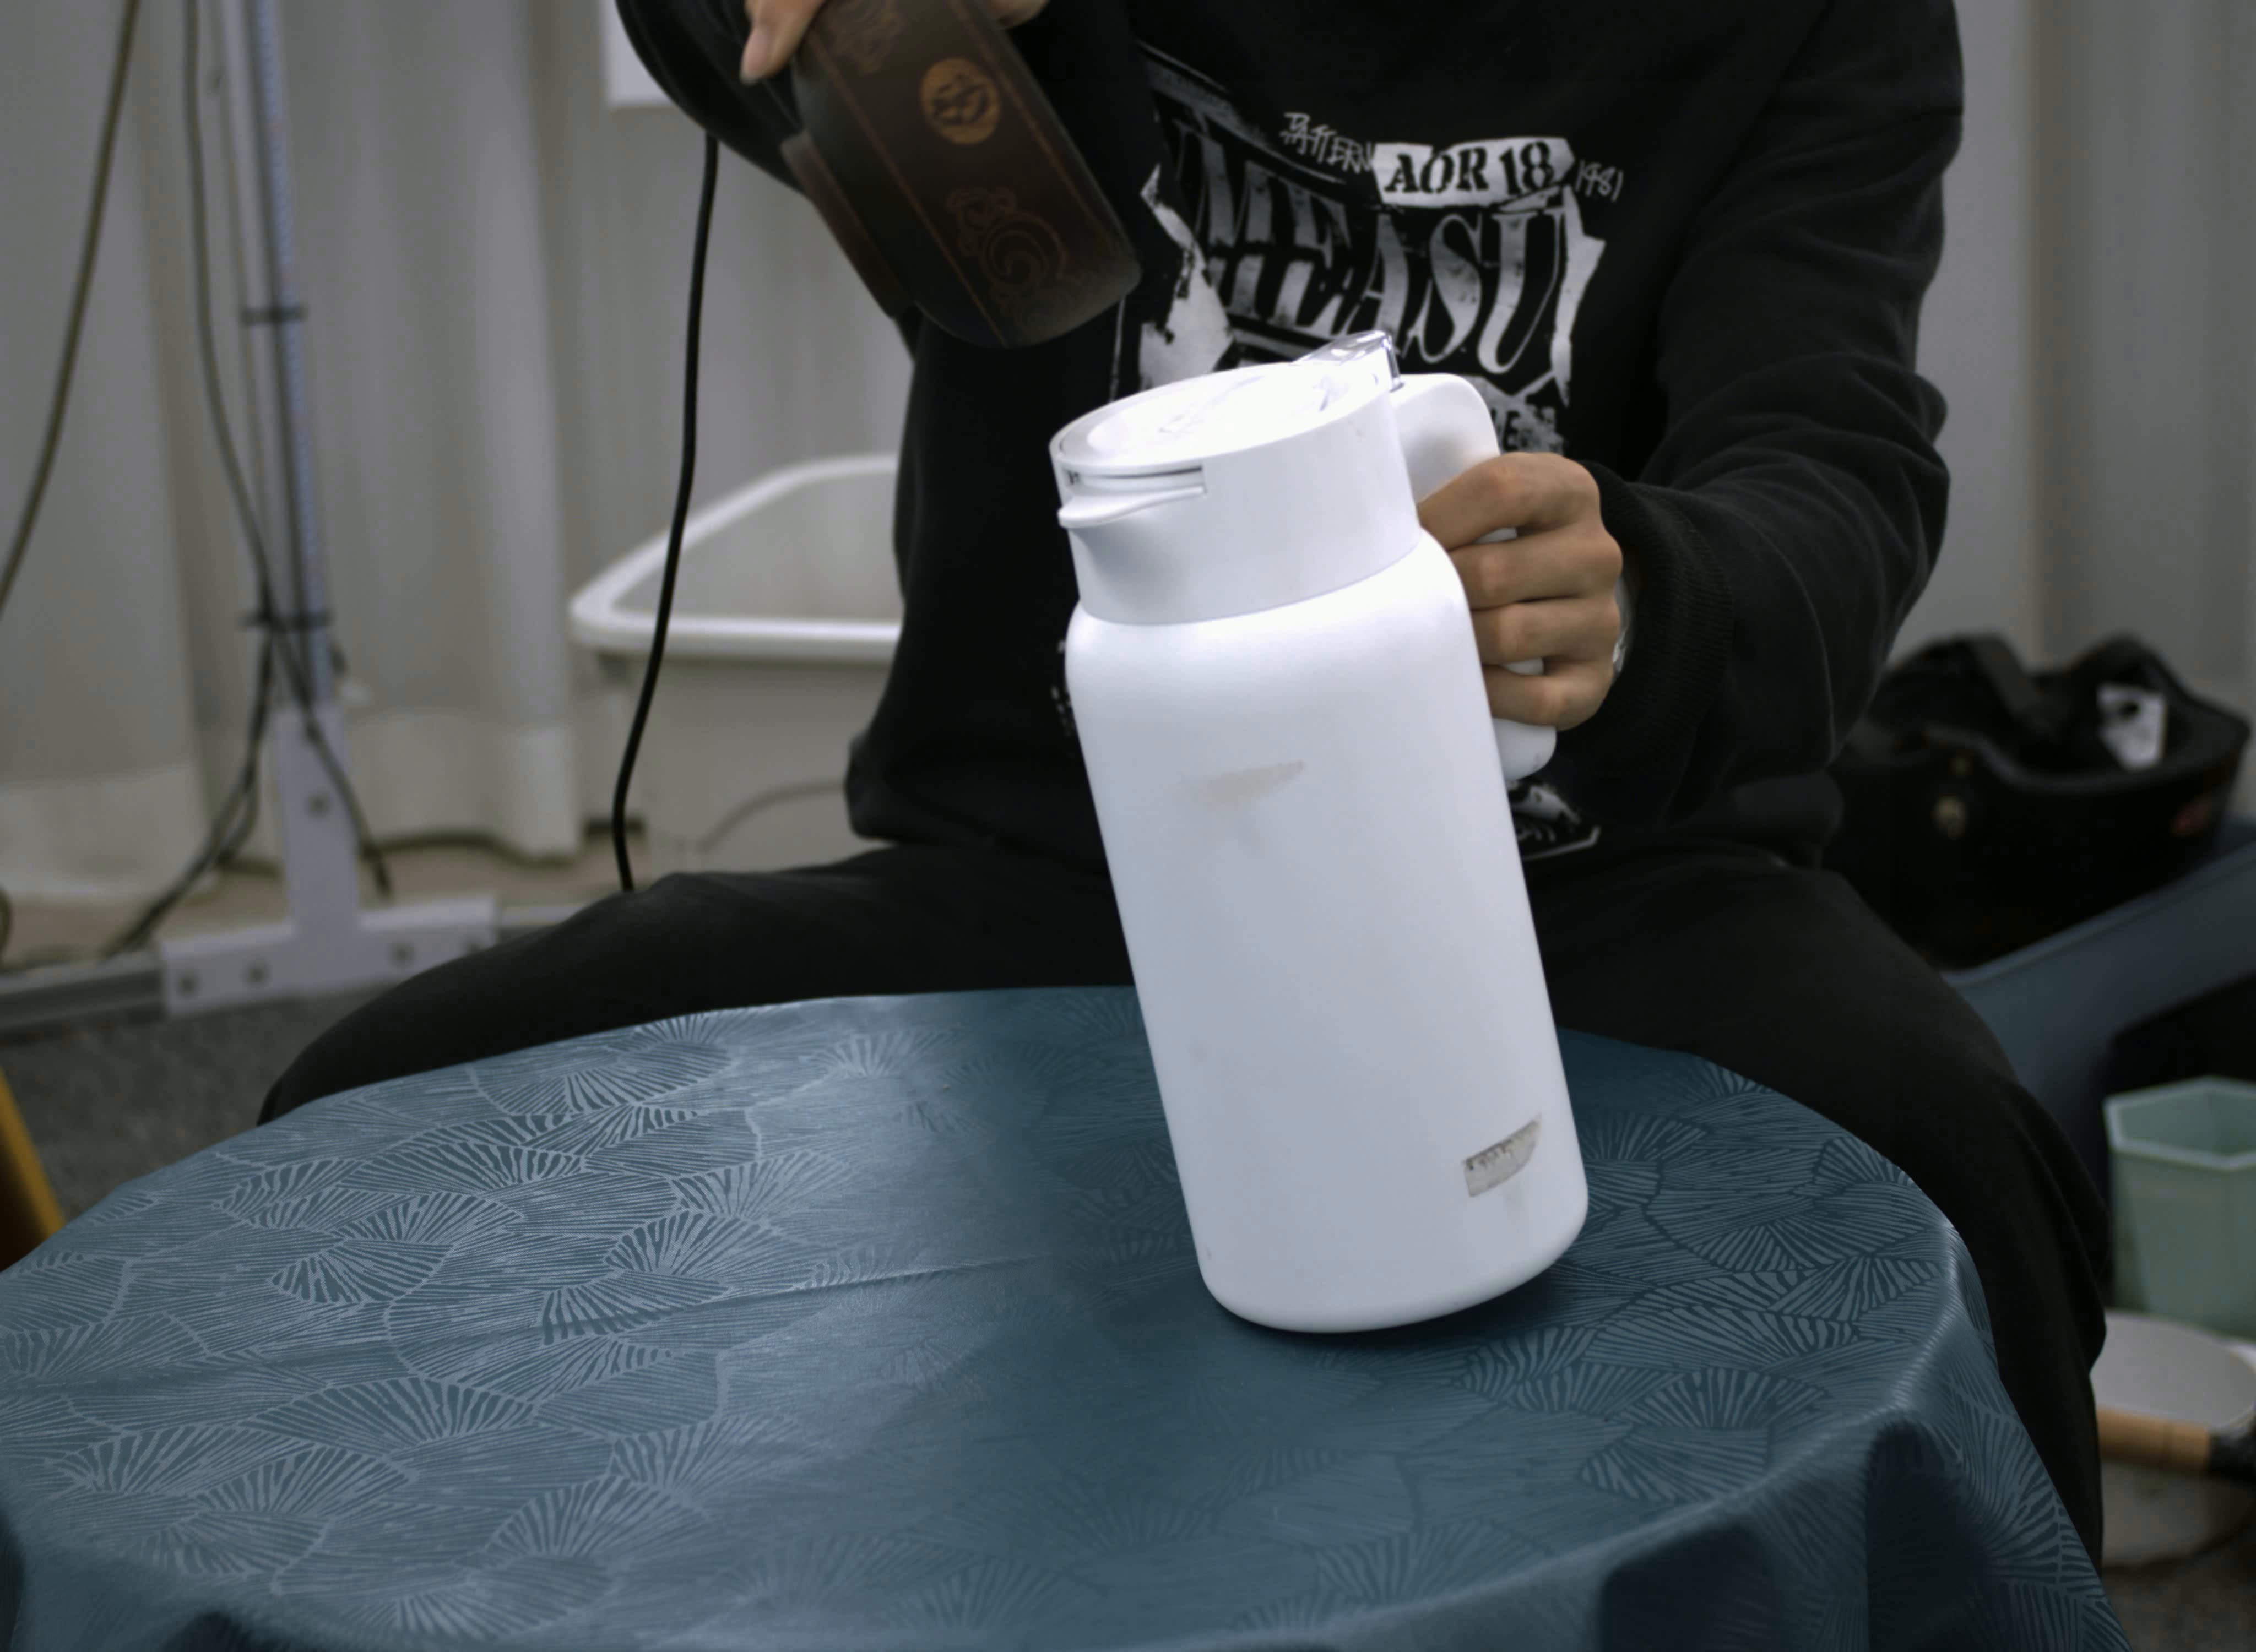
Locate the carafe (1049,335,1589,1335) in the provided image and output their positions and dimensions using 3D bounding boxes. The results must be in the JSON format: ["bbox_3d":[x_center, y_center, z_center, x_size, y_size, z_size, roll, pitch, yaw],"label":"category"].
[{"bbox_3d":[0.062,-0.001,1.592,0.124,0.267,0.173,-1,19,41],"label":"carafe"}]

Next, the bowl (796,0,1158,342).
[{"bbox_3d":[-0.049,-0.187,1.531,0.070,0.117,0.119,-31,16,0],"label":"bowl"}]
